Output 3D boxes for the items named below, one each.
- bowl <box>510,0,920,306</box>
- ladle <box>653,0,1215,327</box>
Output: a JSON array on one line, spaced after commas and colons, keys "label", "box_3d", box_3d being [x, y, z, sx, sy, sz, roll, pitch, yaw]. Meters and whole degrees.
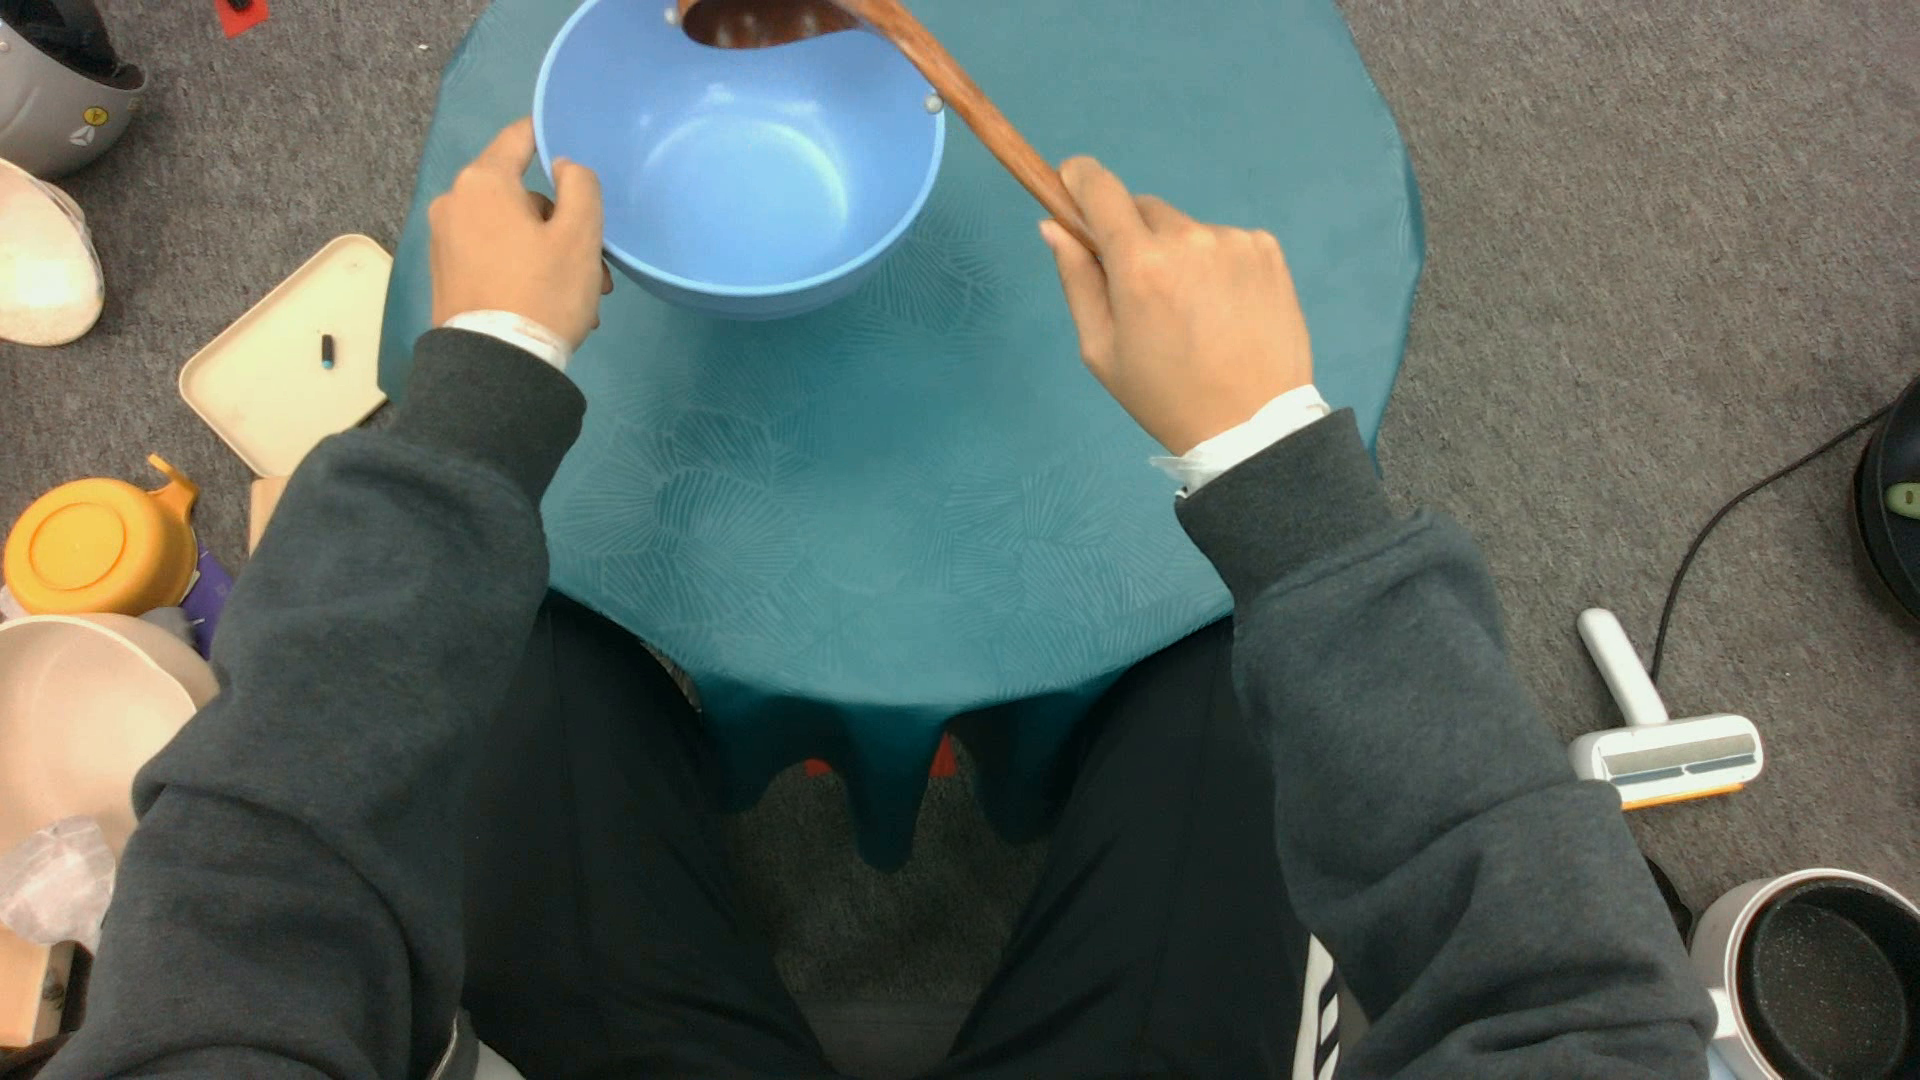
[{"label": "bowl", "box_3d": [-0.123, -0.200, 0.712, 0.196, 0.095, 0.197, 2, 73, -7]}, {"label": "ladle", "box_3d": [-0.016, -0.165, 0.587, 0.274, 0.082, 0.076, 45, 101, 3]}]
